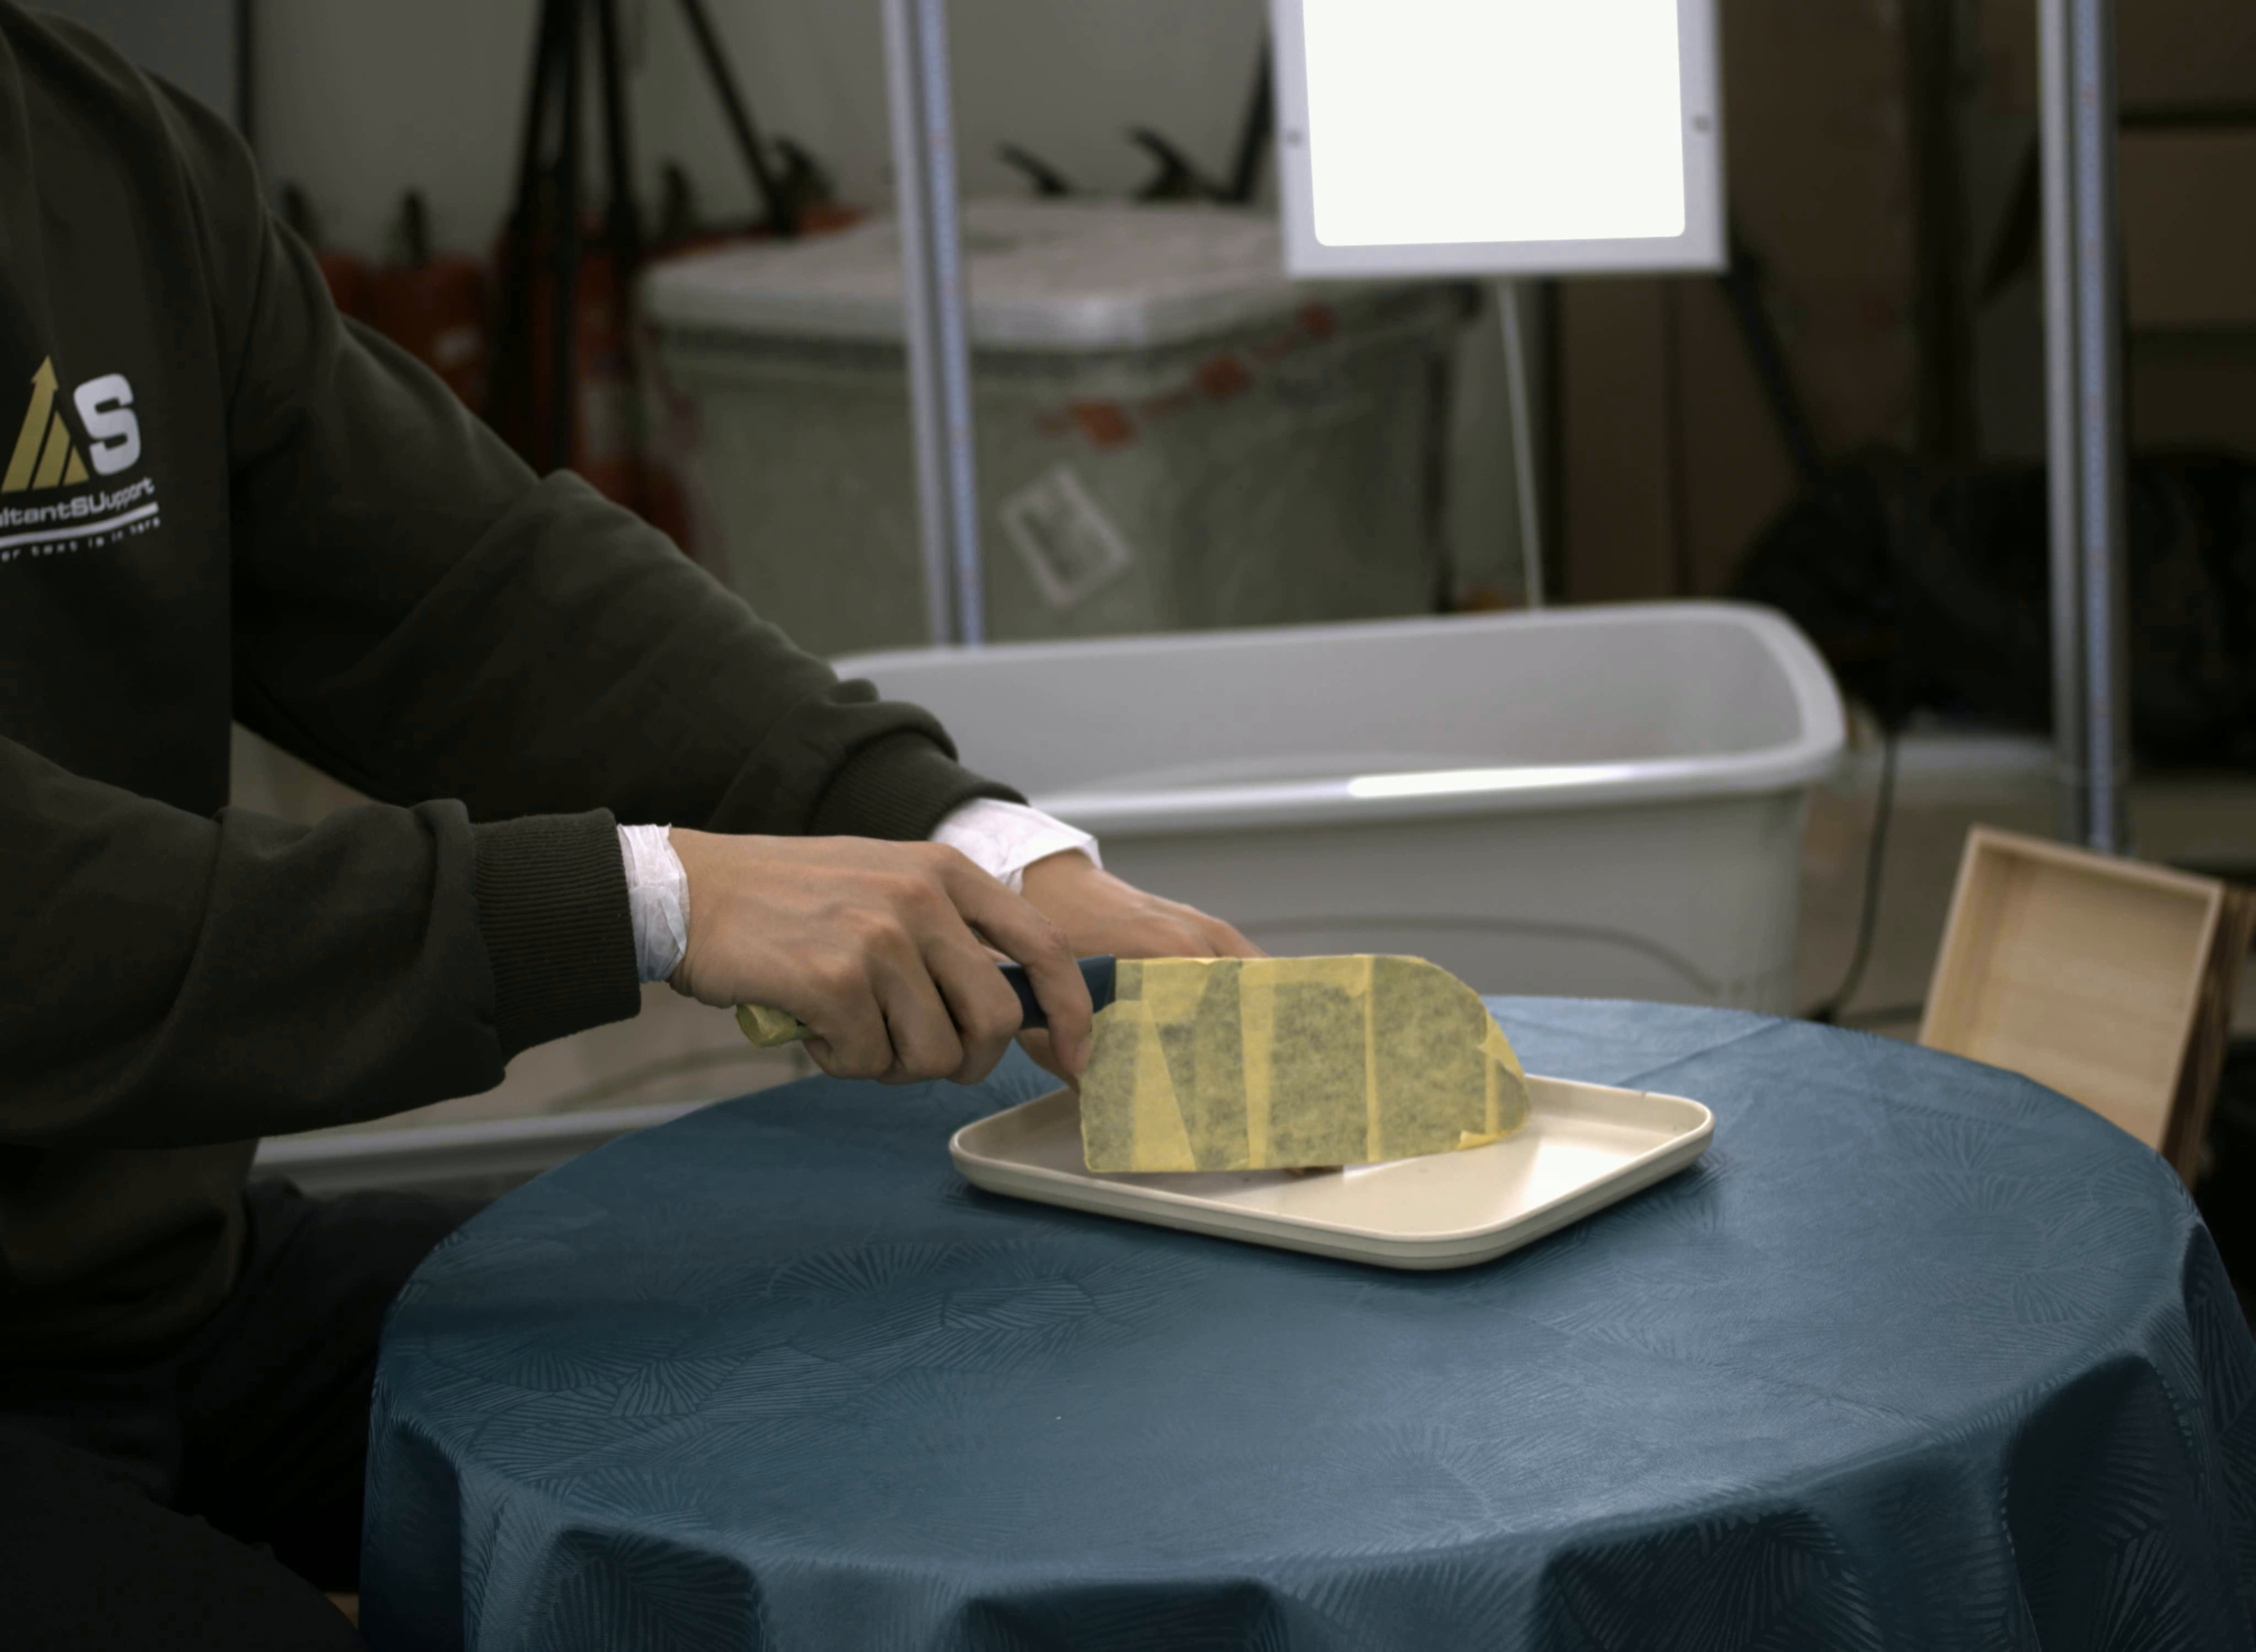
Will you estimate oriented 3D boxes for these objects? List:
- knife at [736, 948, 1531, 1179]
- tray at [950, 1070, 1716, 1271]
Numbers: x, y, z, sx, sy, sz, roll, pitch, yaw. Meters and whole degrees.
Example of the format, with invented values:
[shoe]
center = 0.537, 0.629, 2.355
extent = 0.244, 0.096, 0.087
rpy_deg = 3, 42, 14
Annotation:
[knife]
center = 0.006, 0.080, 1.873
extent = 0.285, 0.081, 0.027
rpy_deg = 2, -6, -17
[tray]
center = 0.070, 0.112, 1.900
extent = 0.245, 0.017, 0.167
rpy_deg = 7, 19, 41
